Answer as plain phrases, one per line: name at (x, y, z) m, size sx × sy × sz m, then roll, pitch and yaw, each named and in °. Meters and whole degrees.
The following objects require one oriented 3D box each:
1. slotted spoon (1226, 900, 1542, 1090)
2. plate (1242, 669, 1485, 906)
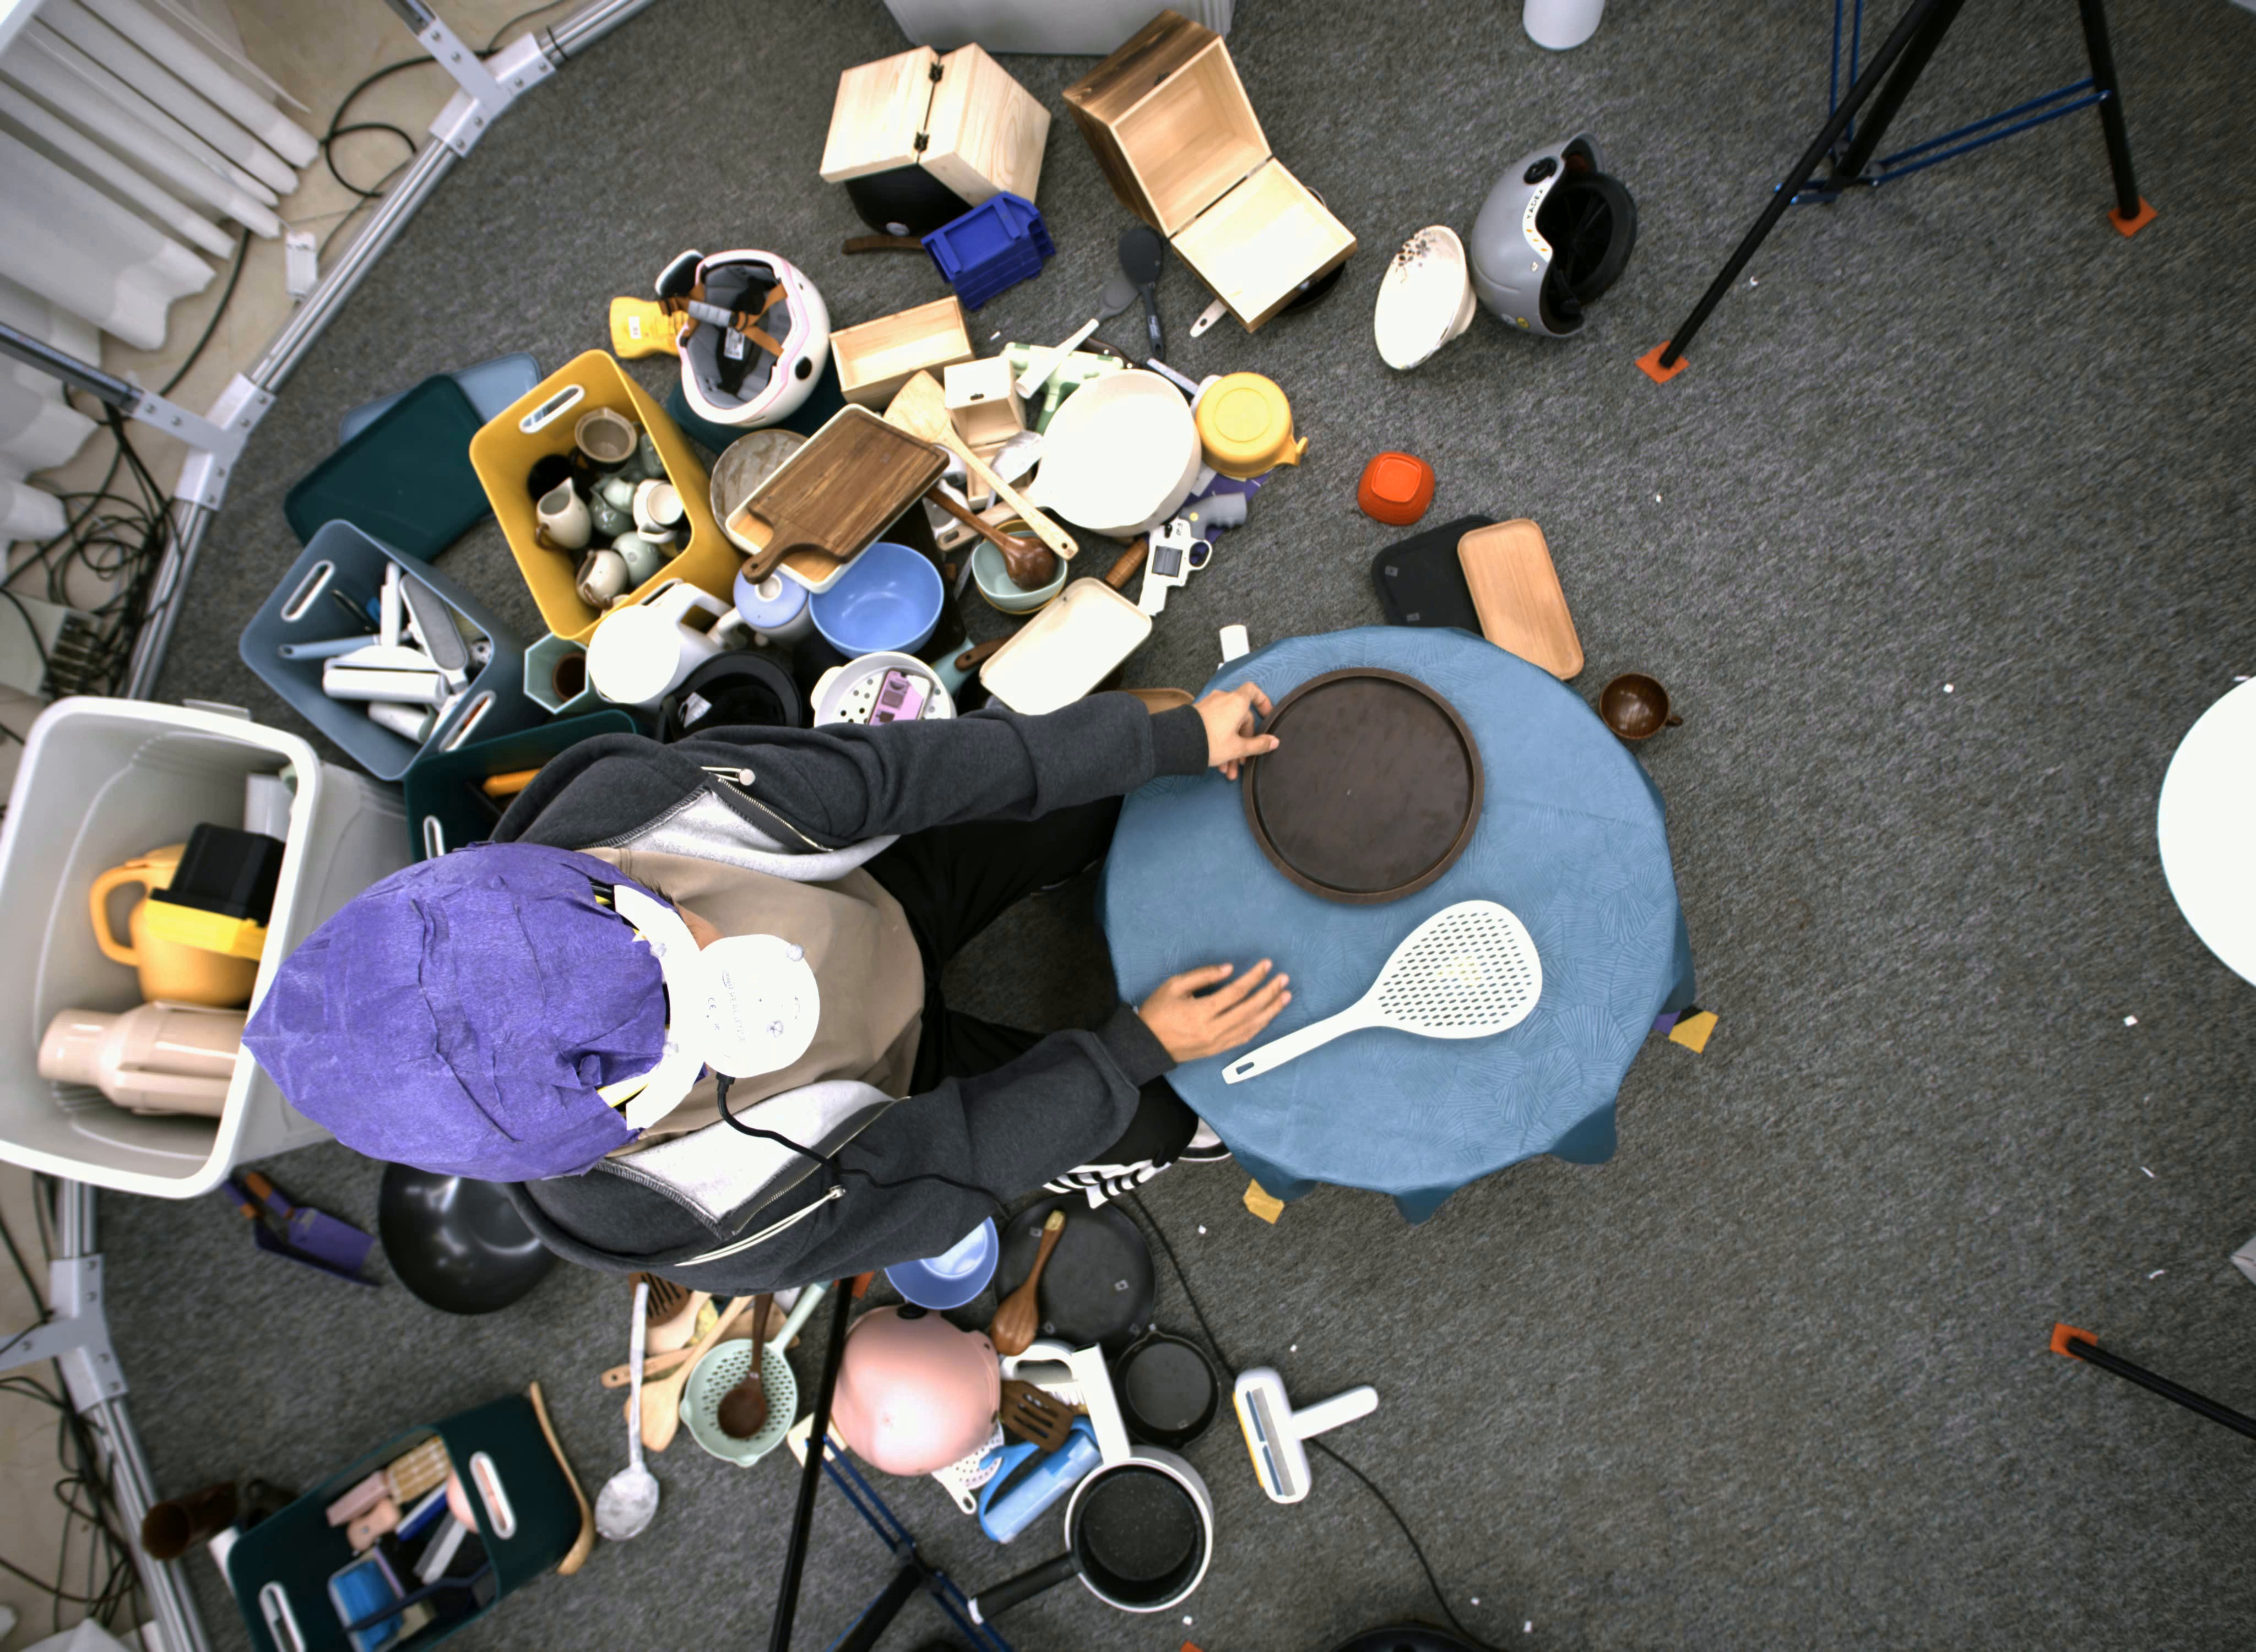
slotted spoon at (0.256, 0.191, 1.434) m, size 0.350 × 0.050 × 0.136 m, roll -25°, pitch 85°, yaw 8°
plate at (0.247, -0.043, 1.458) m, size 0.256 × 0.029 × 0.254 m, roll -1°, pitch 88°, yaw 10°
